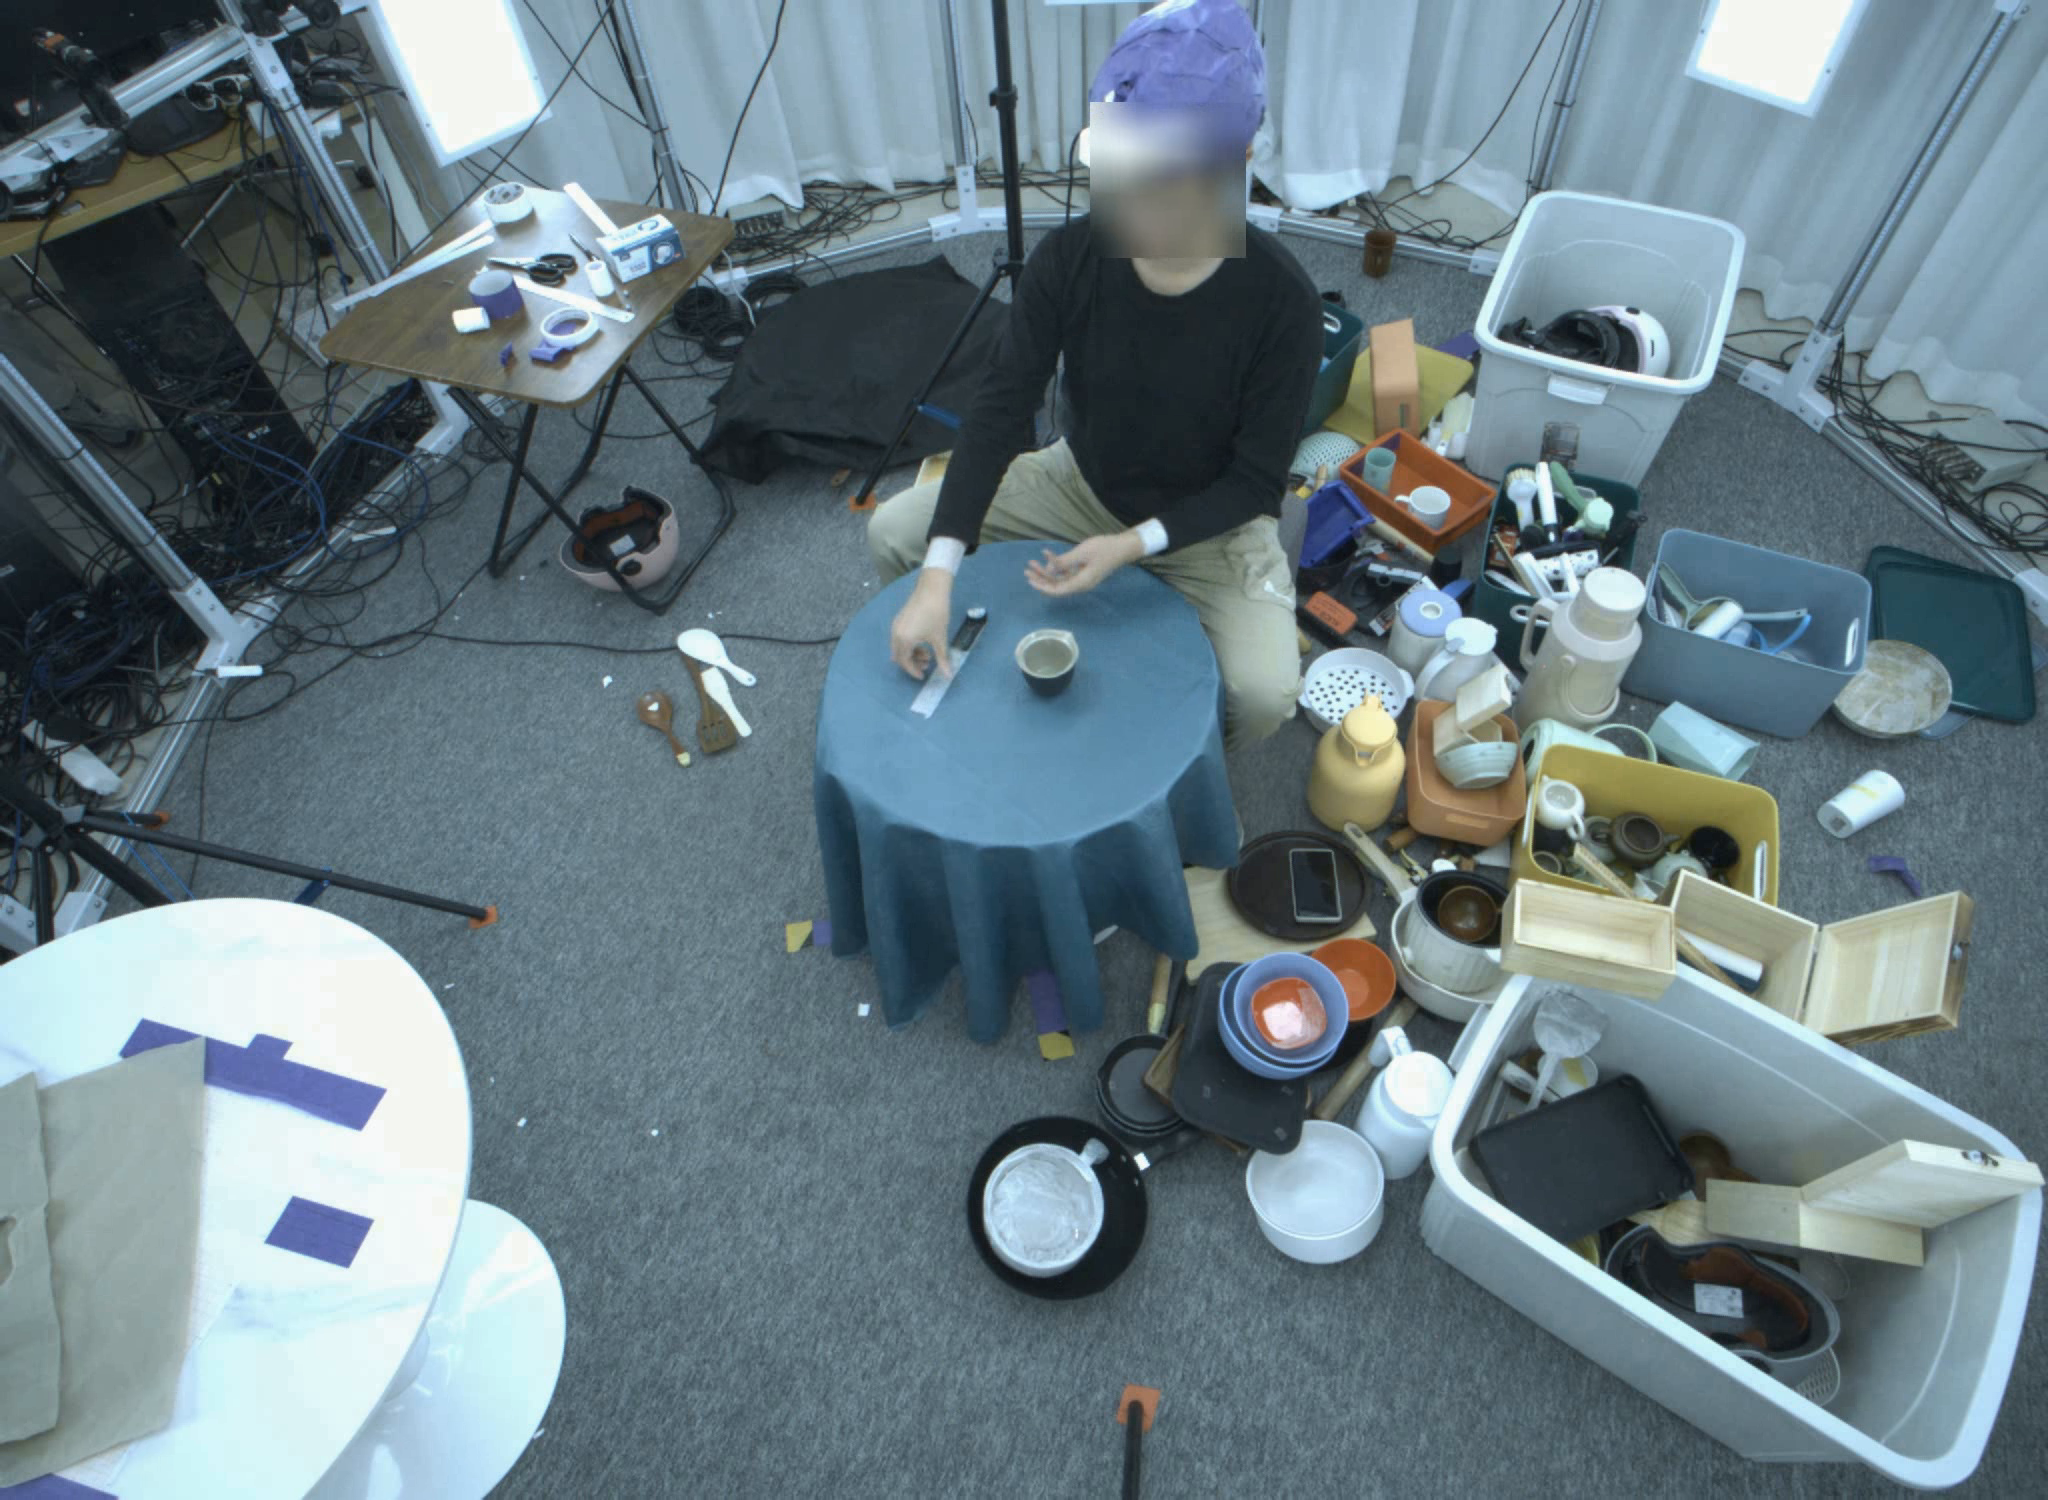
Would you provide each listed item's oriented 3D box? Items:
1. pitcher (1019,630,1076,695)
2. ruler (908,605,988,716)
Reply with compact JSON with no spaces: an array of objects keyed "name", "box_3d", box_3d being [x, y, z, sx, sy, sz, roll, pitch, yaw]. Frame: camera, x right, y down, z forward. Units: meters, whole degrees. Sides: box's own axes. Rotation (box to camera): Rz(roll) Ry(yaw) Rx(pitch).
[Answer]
[{"name":"pitcher","box_3d":[0.039,-0.126,1.831,0.082,0.072,0.096,33,63,24]},{"name":"ruler","box_3d":[-0.114,-0.141,1.878,0.038,0.024,0.218,15,55,22]}]
